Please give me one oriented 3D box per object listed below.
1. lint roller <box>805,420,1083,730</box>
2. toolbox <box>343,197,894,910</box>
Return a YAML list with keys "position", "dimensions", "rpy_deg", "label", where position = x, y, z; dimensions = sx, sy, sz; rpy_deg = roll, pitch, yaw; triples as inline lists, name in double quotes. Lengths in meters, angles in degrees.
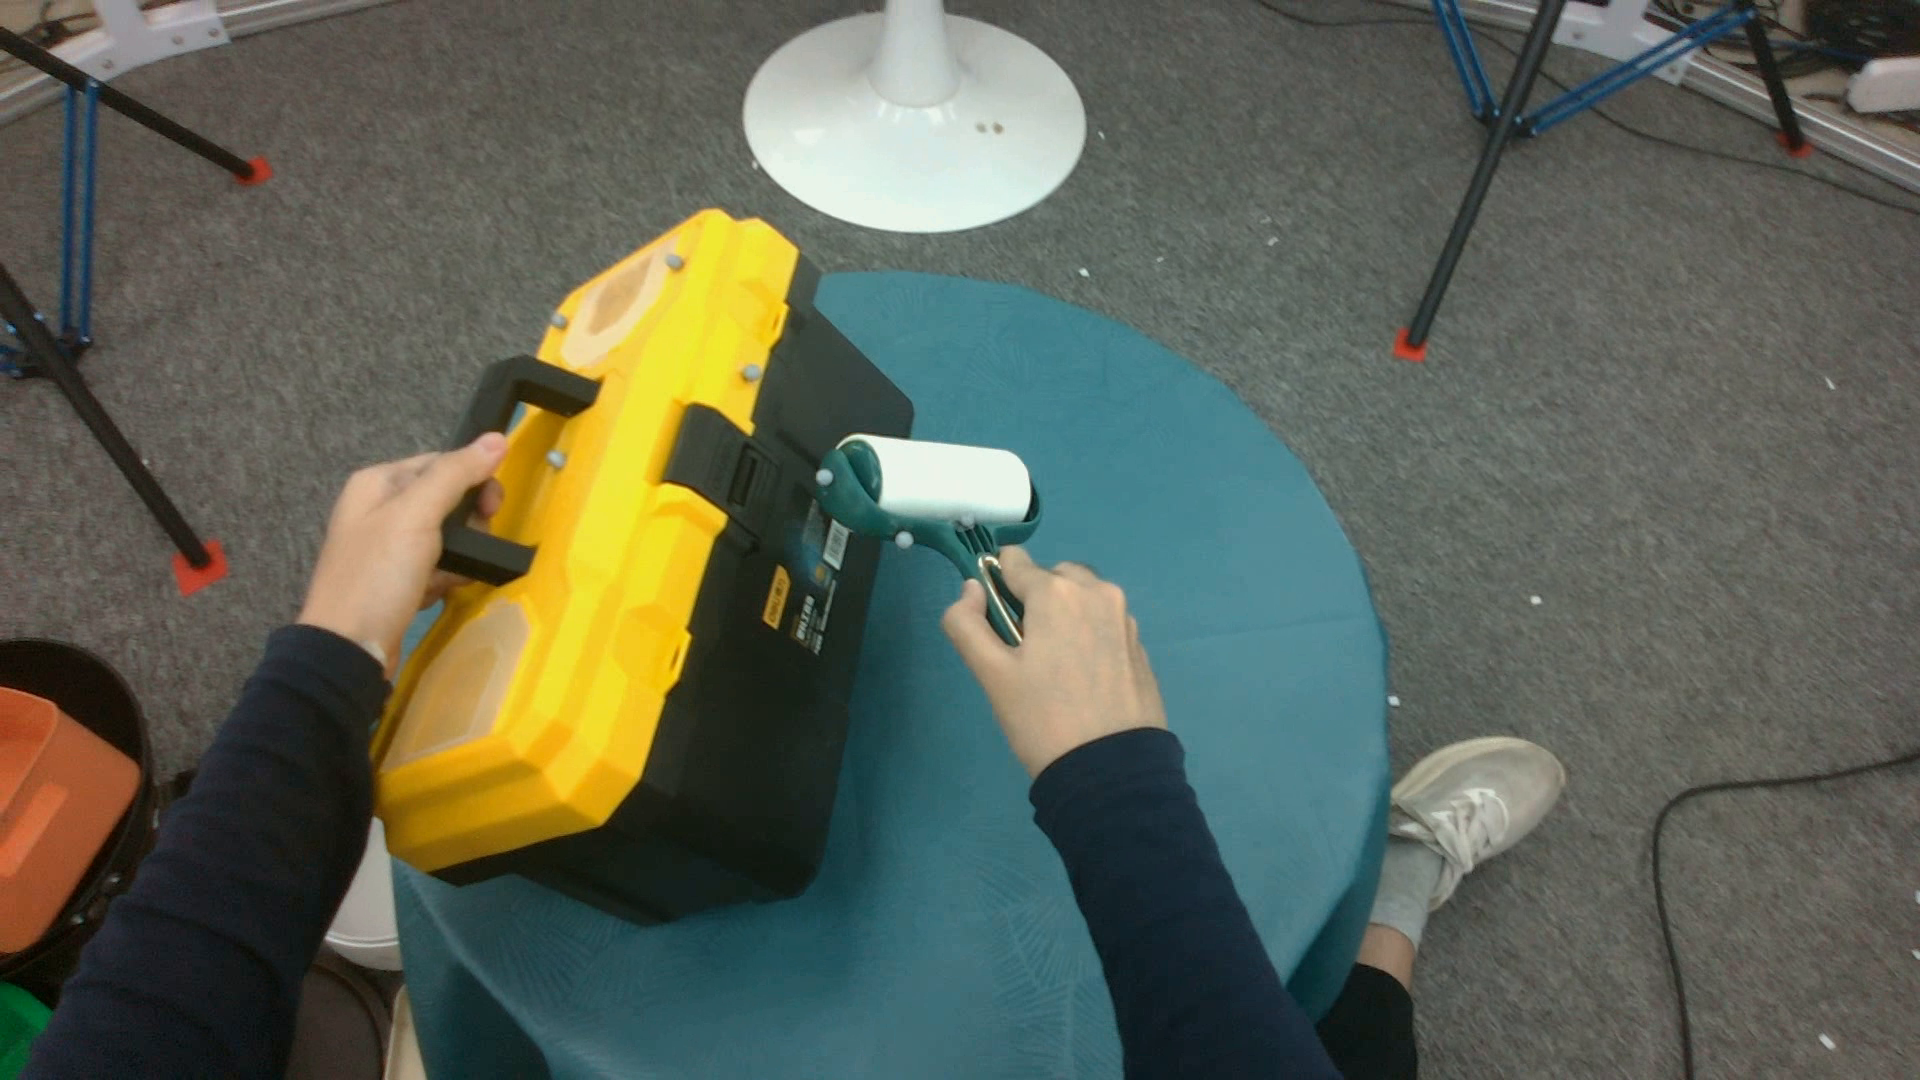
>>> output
- position: [0.013, 0.010, 0.659]
  dimensions: [0.134, 0.048, 0.180]
  rpy_deg: [2, 39, -44]
  label: "lint roller"
- position: [-0.155, 0.005, 0.719]
  dimensions: [0.180, 0.172, 0.353]
  rpy_deg: [-20, 46, 34]
  label: "toolbox"
